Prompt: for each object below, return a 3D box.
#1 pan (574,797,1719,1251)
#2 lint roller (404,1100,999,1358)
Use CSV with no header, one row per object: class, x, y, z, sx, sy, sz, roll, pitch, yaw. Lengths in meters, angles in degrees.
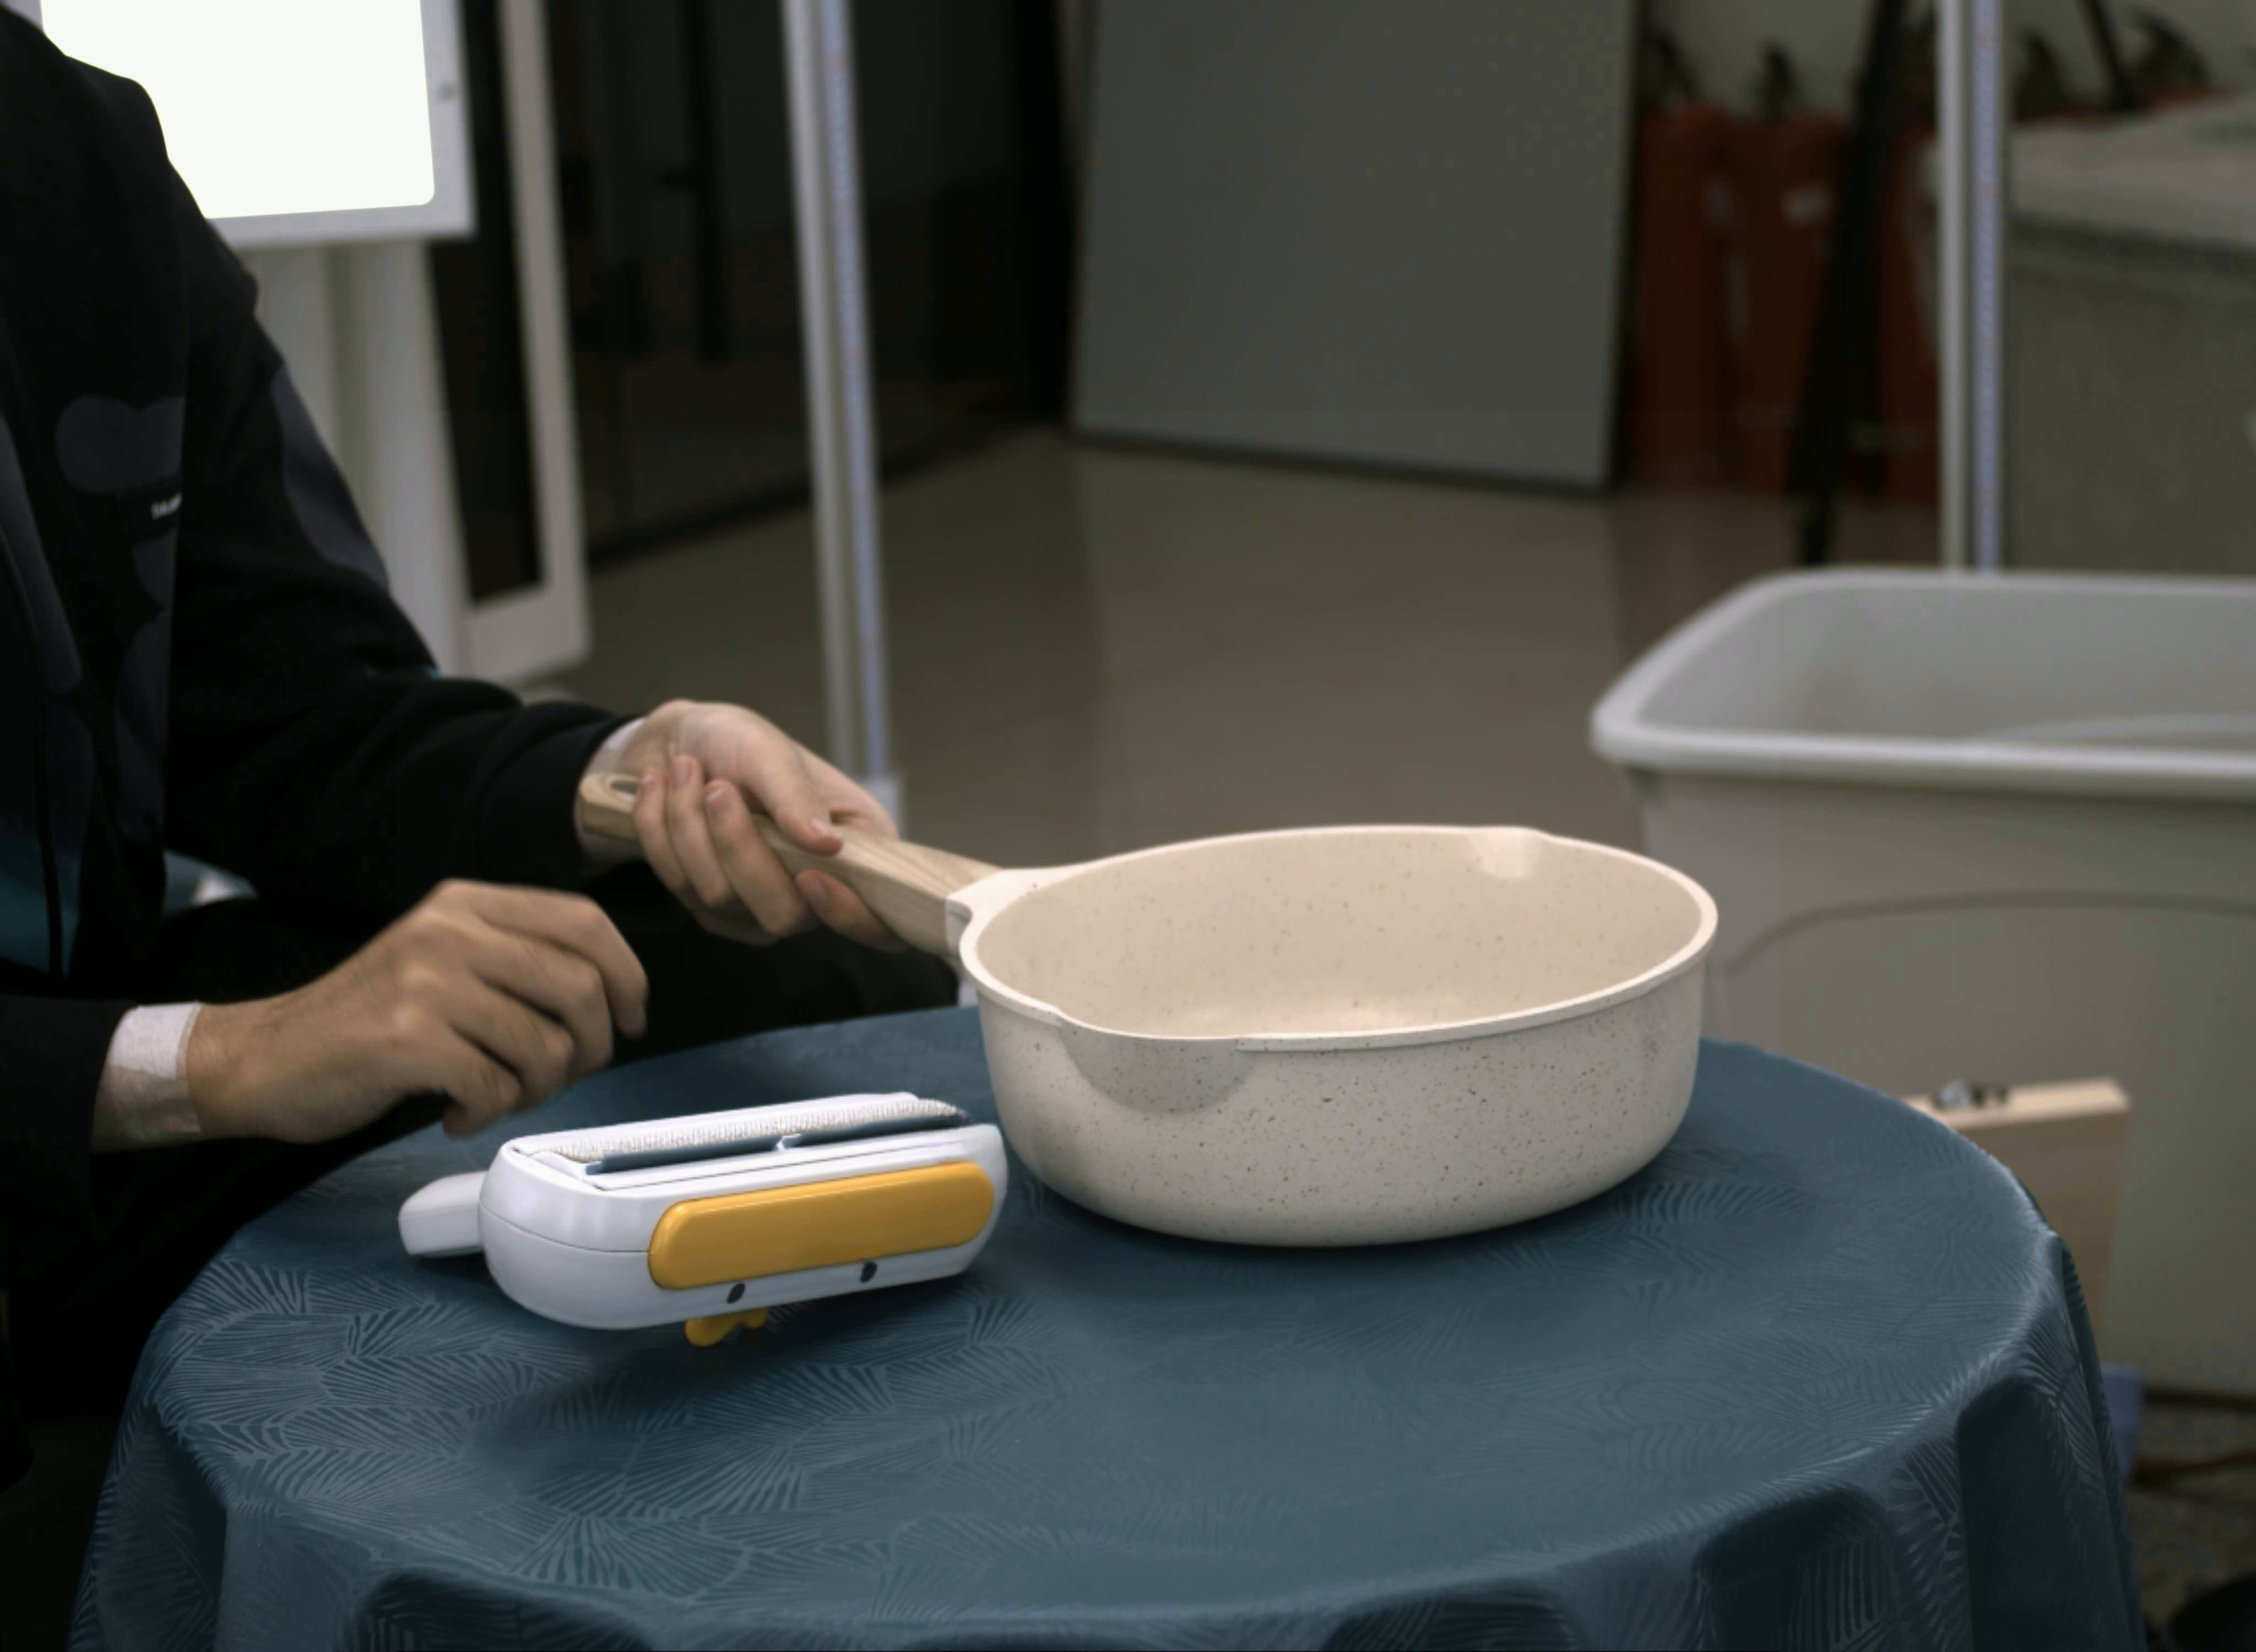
pan,-0.005,0.055,1.831,0.437,0.103,0.259,5,19,32
lint roller,-0.160,0.118,1.688,0.188,0.075,0.194,-9,12,-43
